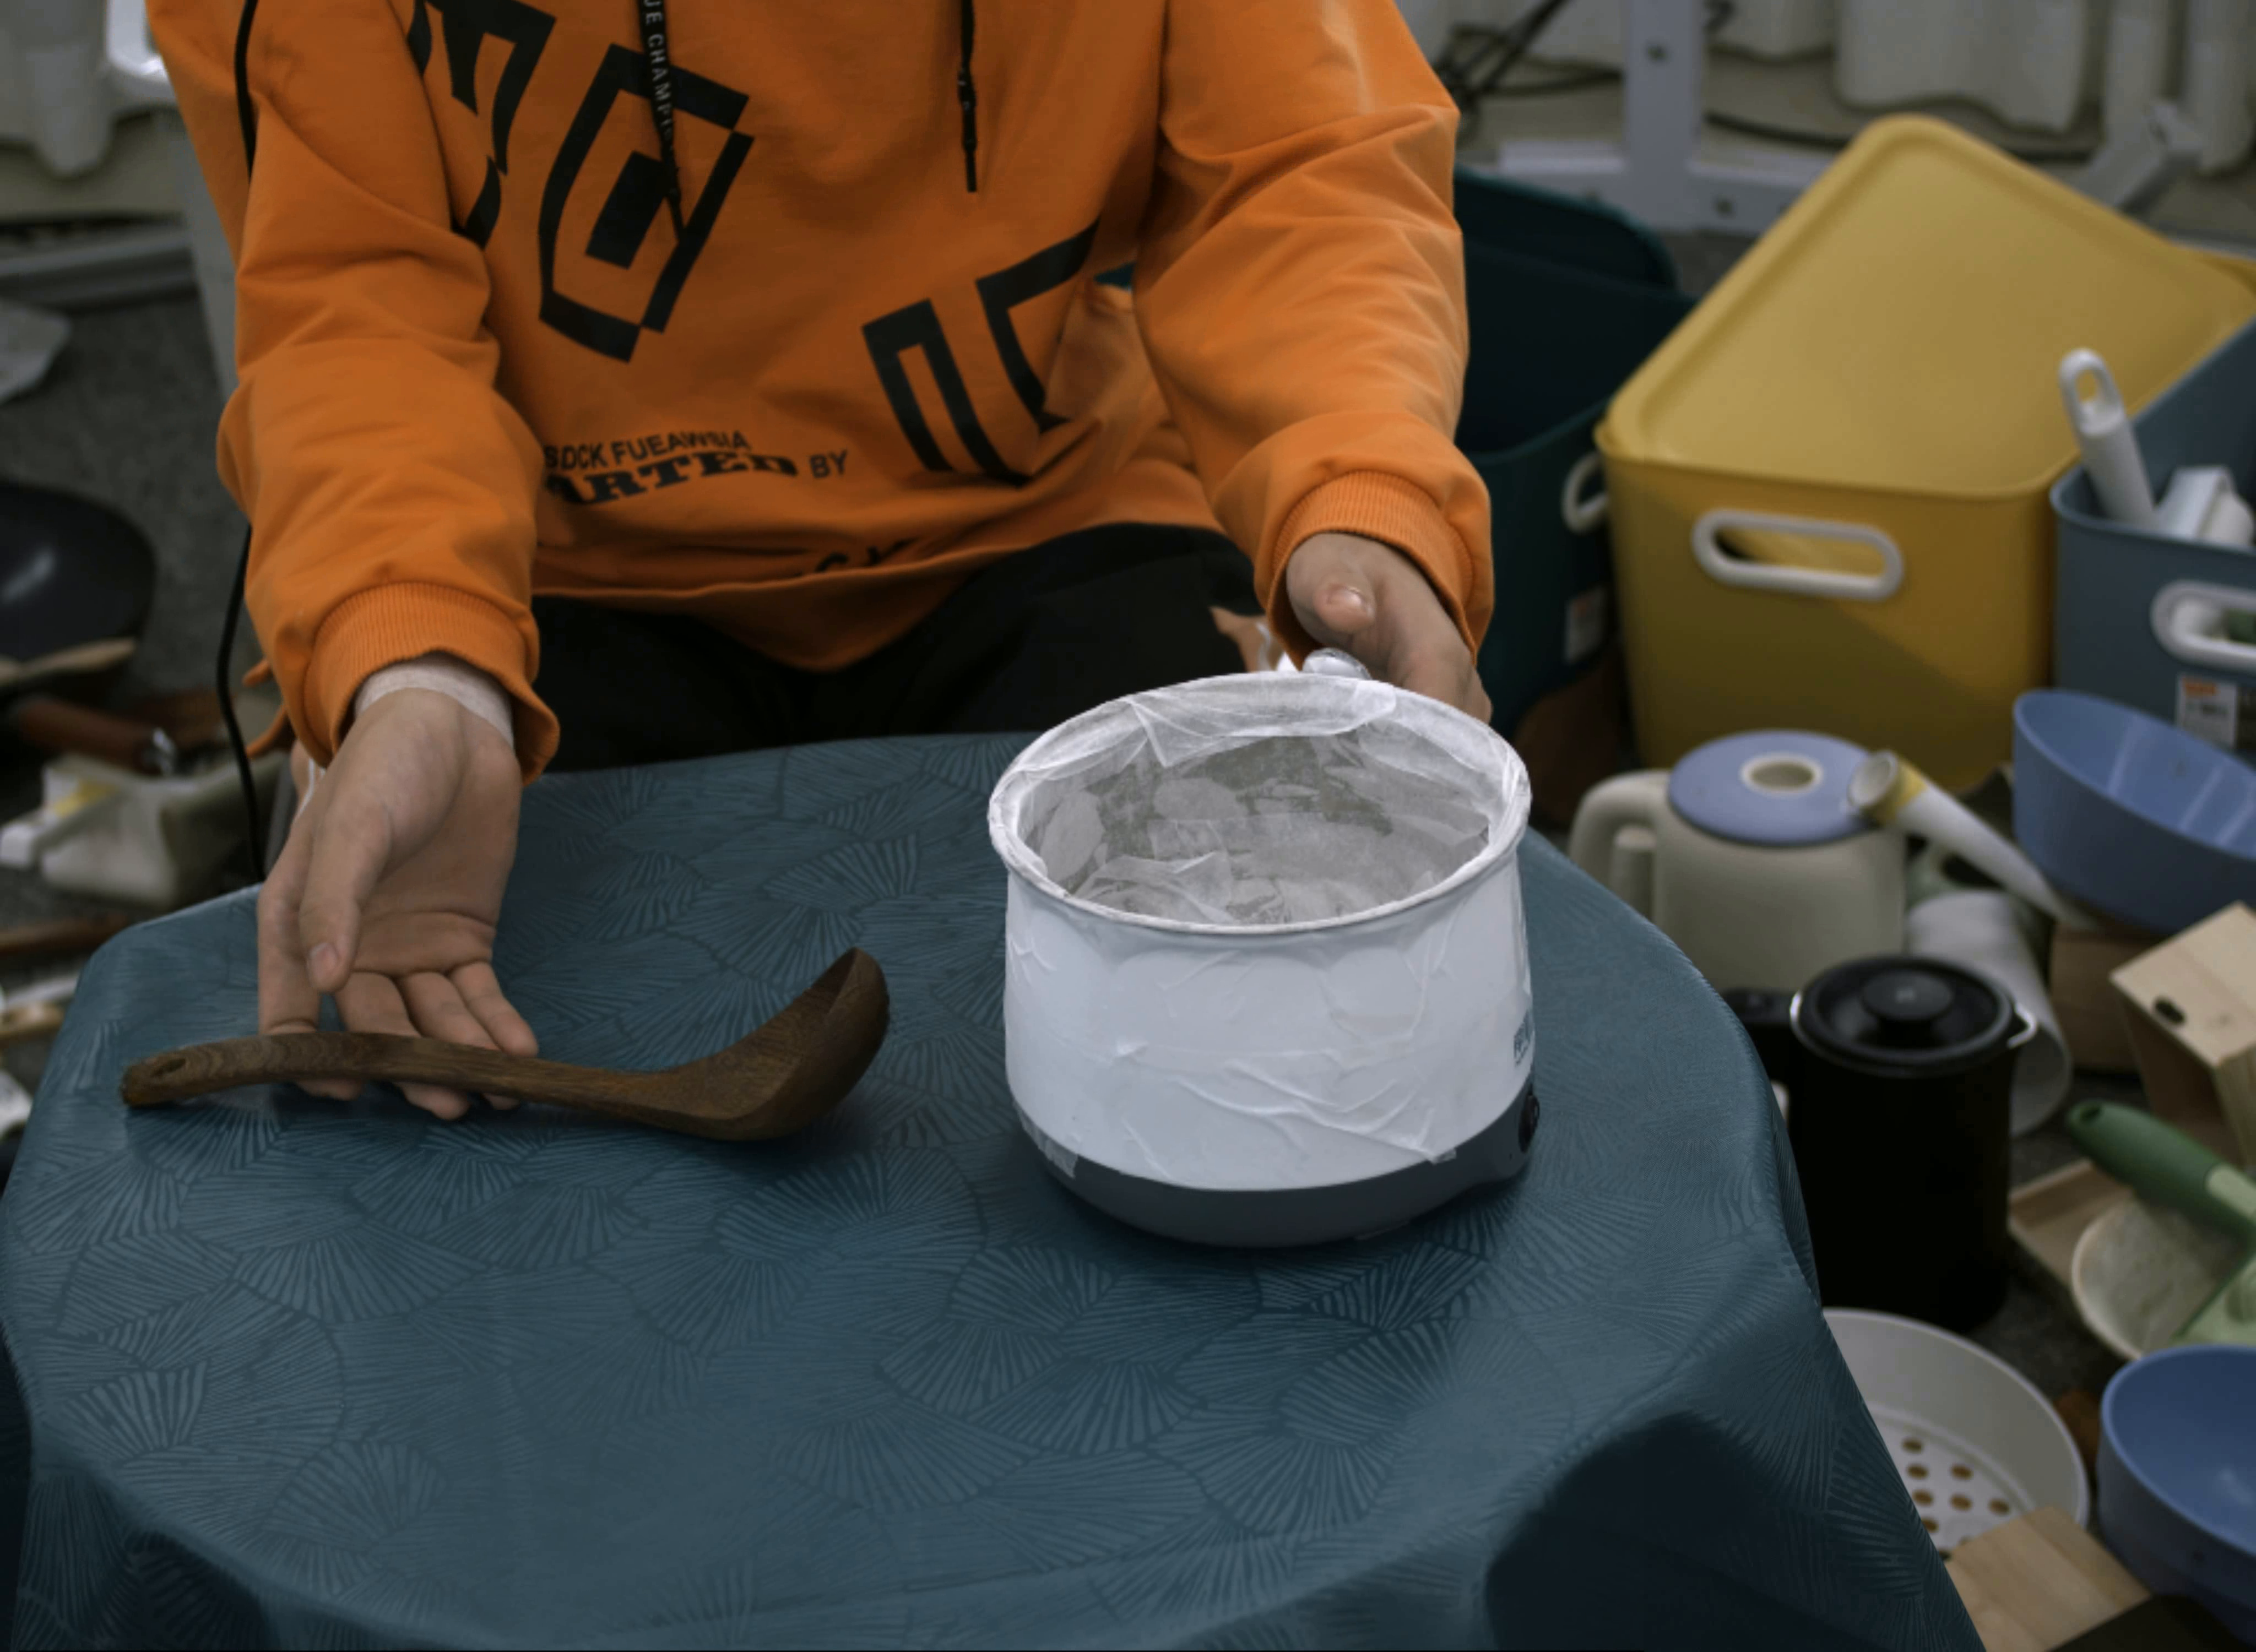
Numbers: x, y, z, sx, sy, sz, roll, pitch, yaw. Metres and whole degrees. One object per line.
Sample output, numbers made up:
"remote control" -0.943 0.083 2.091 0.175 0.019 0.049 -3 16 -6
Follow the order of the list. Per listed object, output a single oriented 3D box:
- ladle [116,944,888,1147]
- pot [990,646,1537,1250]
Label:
"ladle" -0.215 0.069 1.909 0.272 0.070 0.077 3 25 10
"pot" 0.052 0.033 1.880 0.177 0.135 0.238 4 28 13
